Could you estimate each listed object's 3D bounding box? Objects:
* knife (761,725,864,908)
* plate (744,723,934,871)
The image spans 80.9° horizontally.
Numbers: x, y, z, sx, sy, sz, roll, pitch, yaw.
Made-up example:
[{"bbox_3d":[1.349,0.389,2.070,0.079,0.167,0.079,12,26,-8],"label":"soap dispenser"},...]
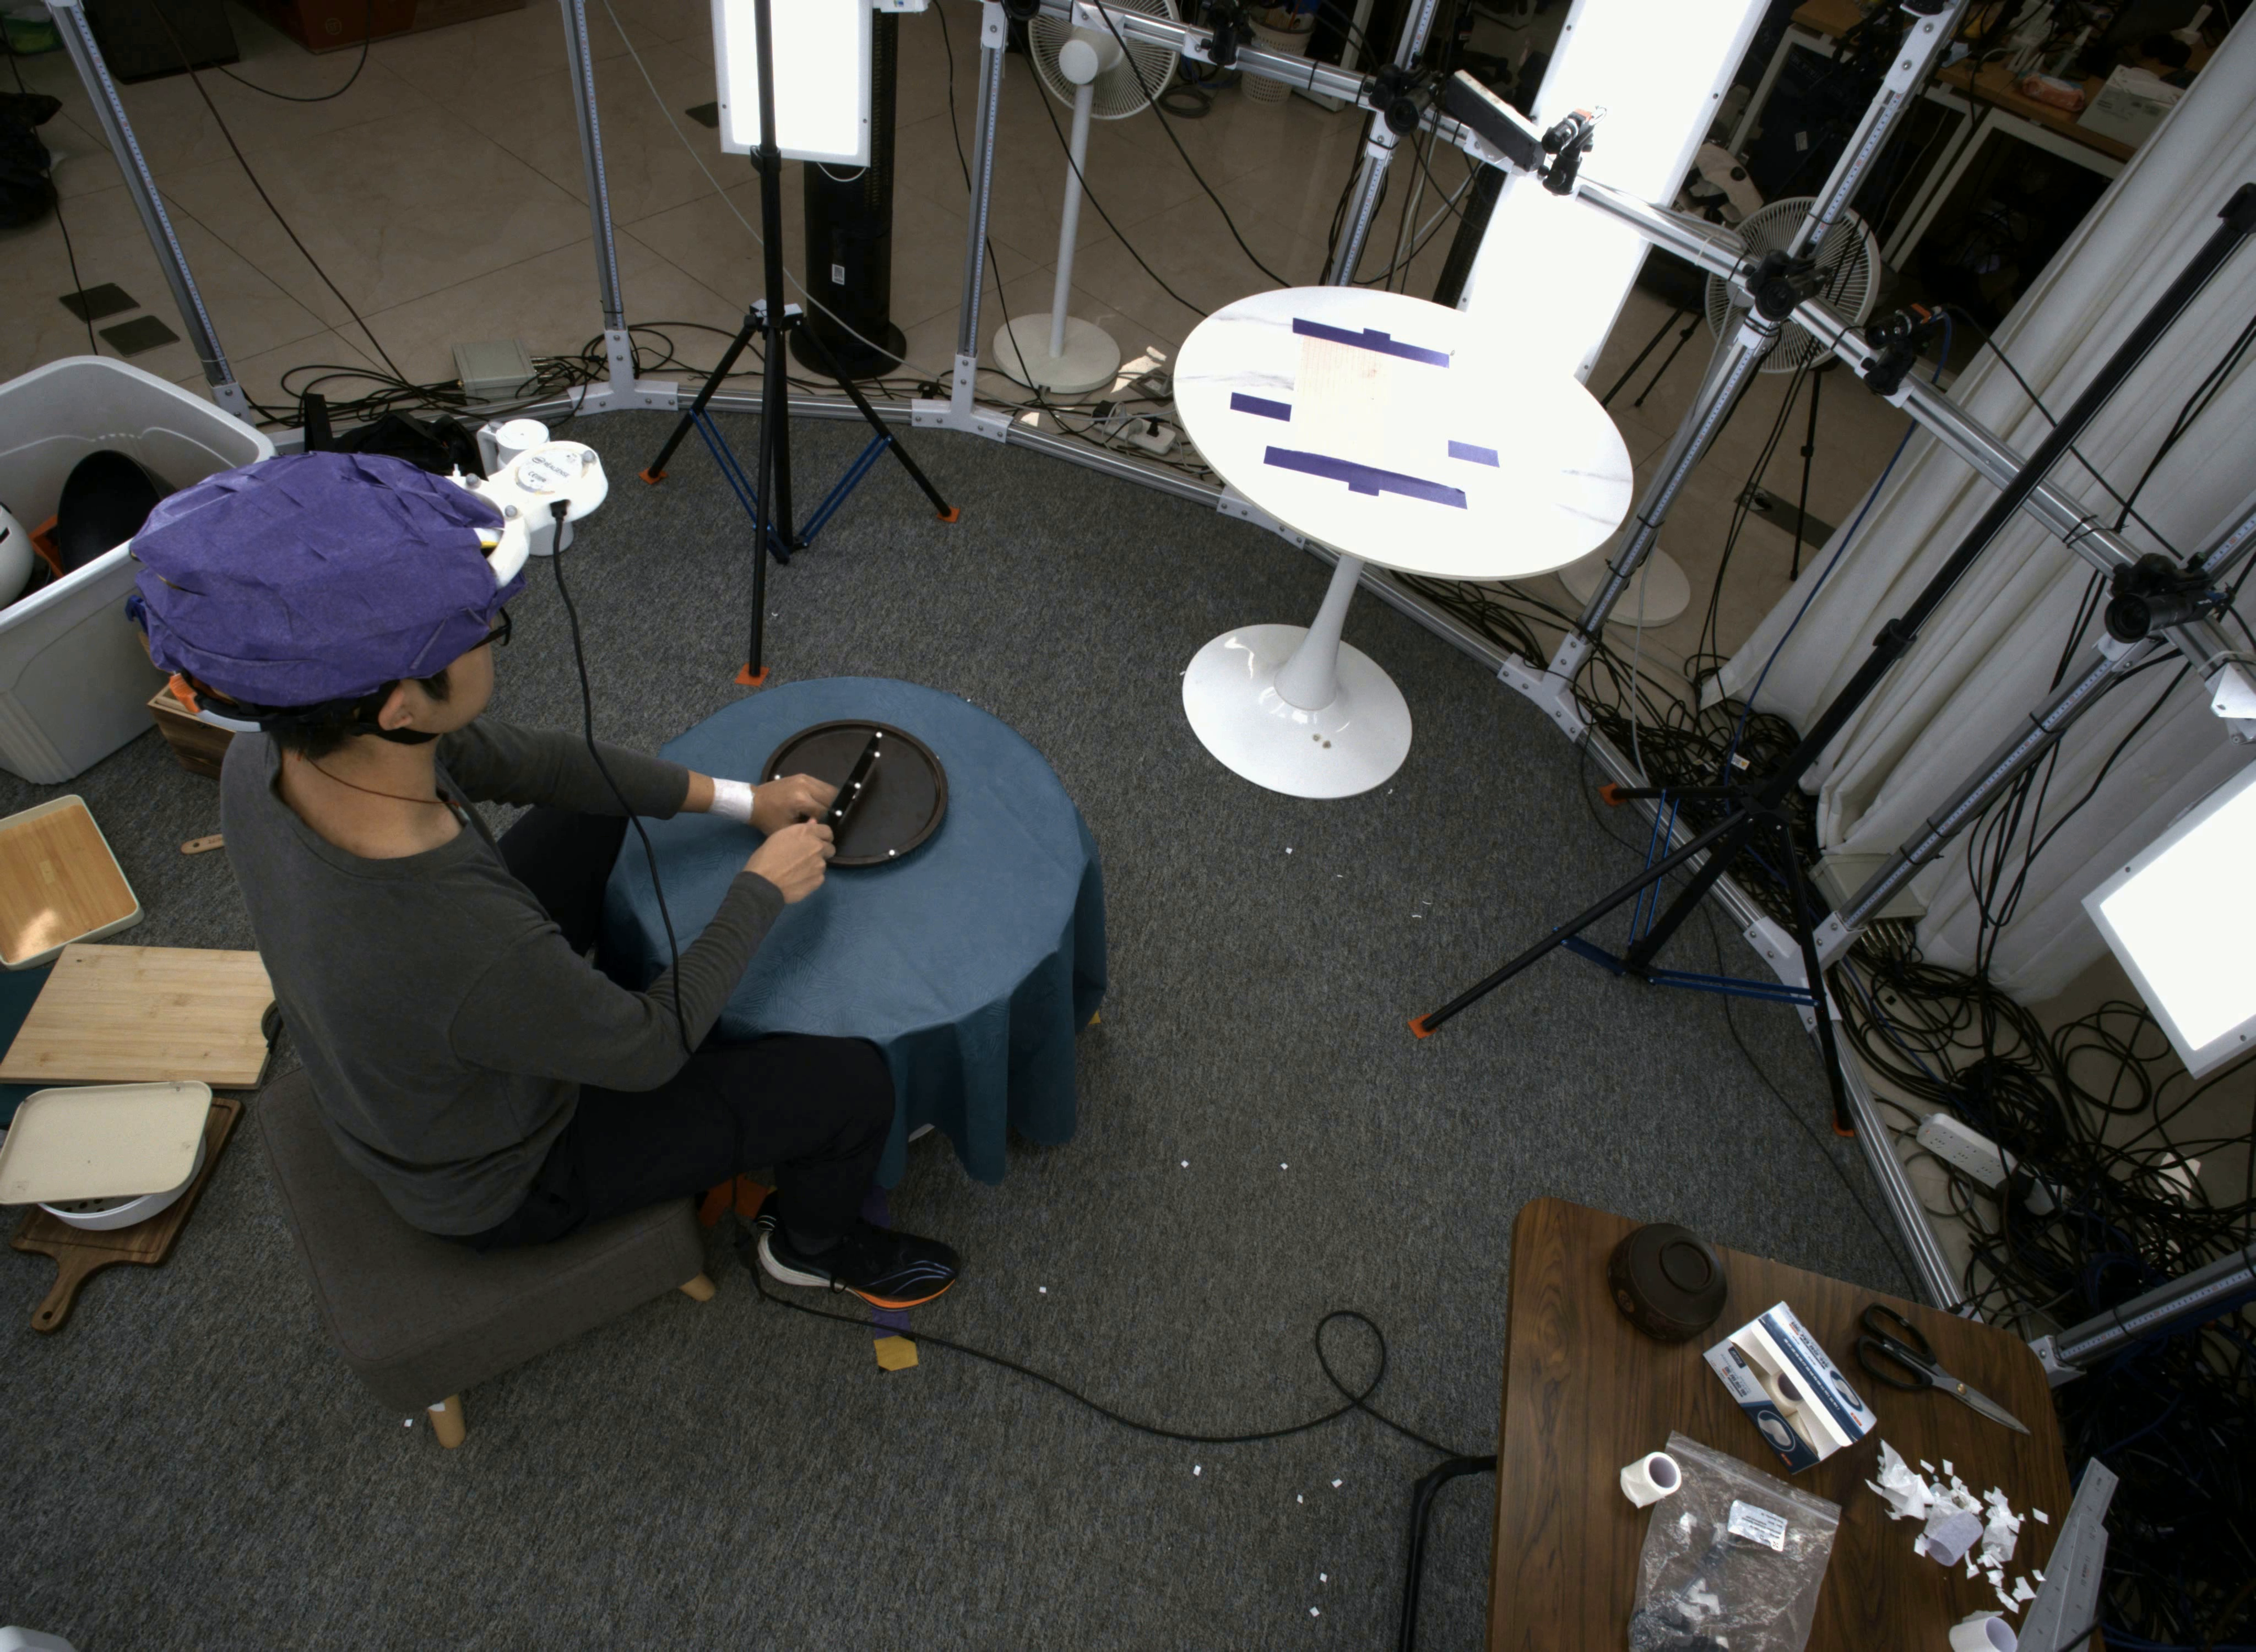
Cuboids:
[{"bbox_3d":[-0.401,-0.012,1.674,0.020,0.083,0.299,18,47,3],"label":"knife"},{"bbox_3d":[-0.391,-0.042,1.761,0.254,0.029,0.250,8,53,-9],"label":"plate"}]
